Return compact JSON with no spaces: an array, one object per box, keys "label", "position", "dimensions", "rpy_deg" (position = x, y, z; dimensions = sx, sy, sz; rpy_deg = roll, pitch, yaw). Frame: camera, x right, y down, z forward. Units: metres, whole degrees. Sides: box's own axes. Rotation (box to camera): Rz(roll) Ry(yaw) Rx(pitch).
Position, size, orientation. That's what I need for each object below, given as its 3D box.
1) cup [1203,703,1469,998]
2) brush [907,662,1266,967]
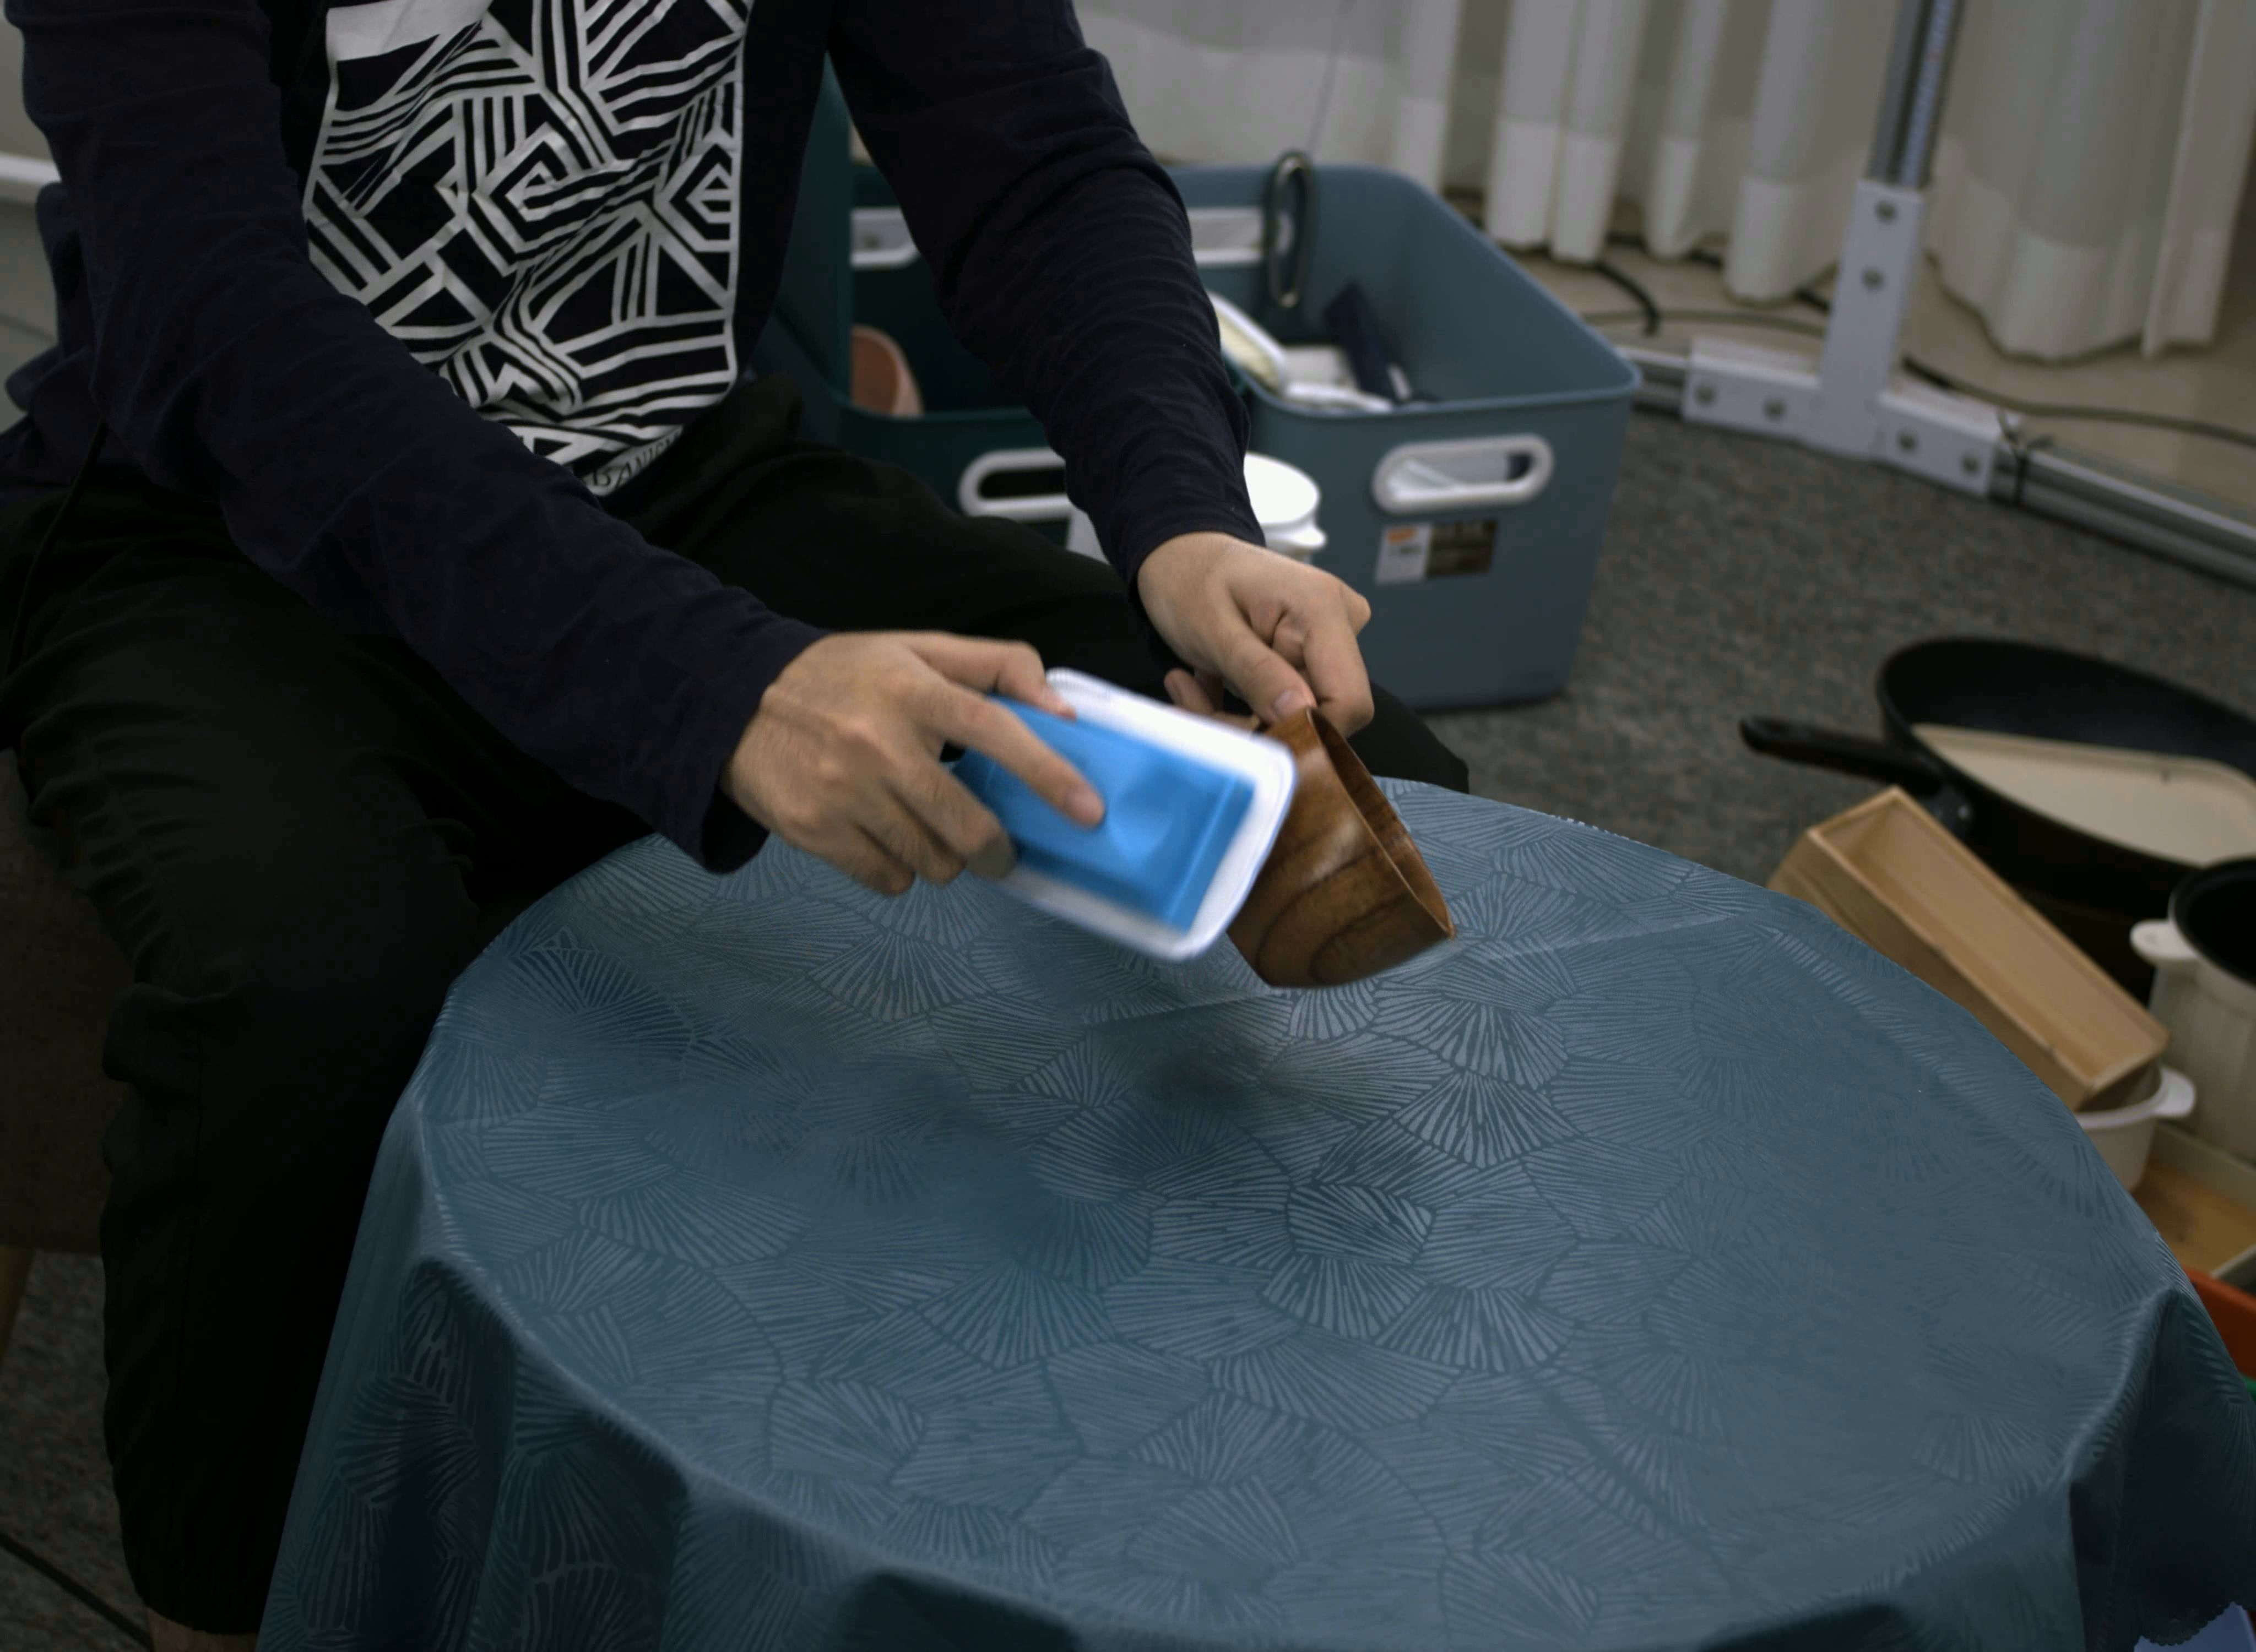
[{"label":"cup","position":[0.060,0.008,1.867],"dimensions":[0.095,0.068,0.120],"rpy_deg":[41,16,-47]},{"label":"brush","position":[-0.022,-0.010,1.813],"dimensions":[0.145,0.084,0.055],"rpy_deg":[27,-6,45]}]
